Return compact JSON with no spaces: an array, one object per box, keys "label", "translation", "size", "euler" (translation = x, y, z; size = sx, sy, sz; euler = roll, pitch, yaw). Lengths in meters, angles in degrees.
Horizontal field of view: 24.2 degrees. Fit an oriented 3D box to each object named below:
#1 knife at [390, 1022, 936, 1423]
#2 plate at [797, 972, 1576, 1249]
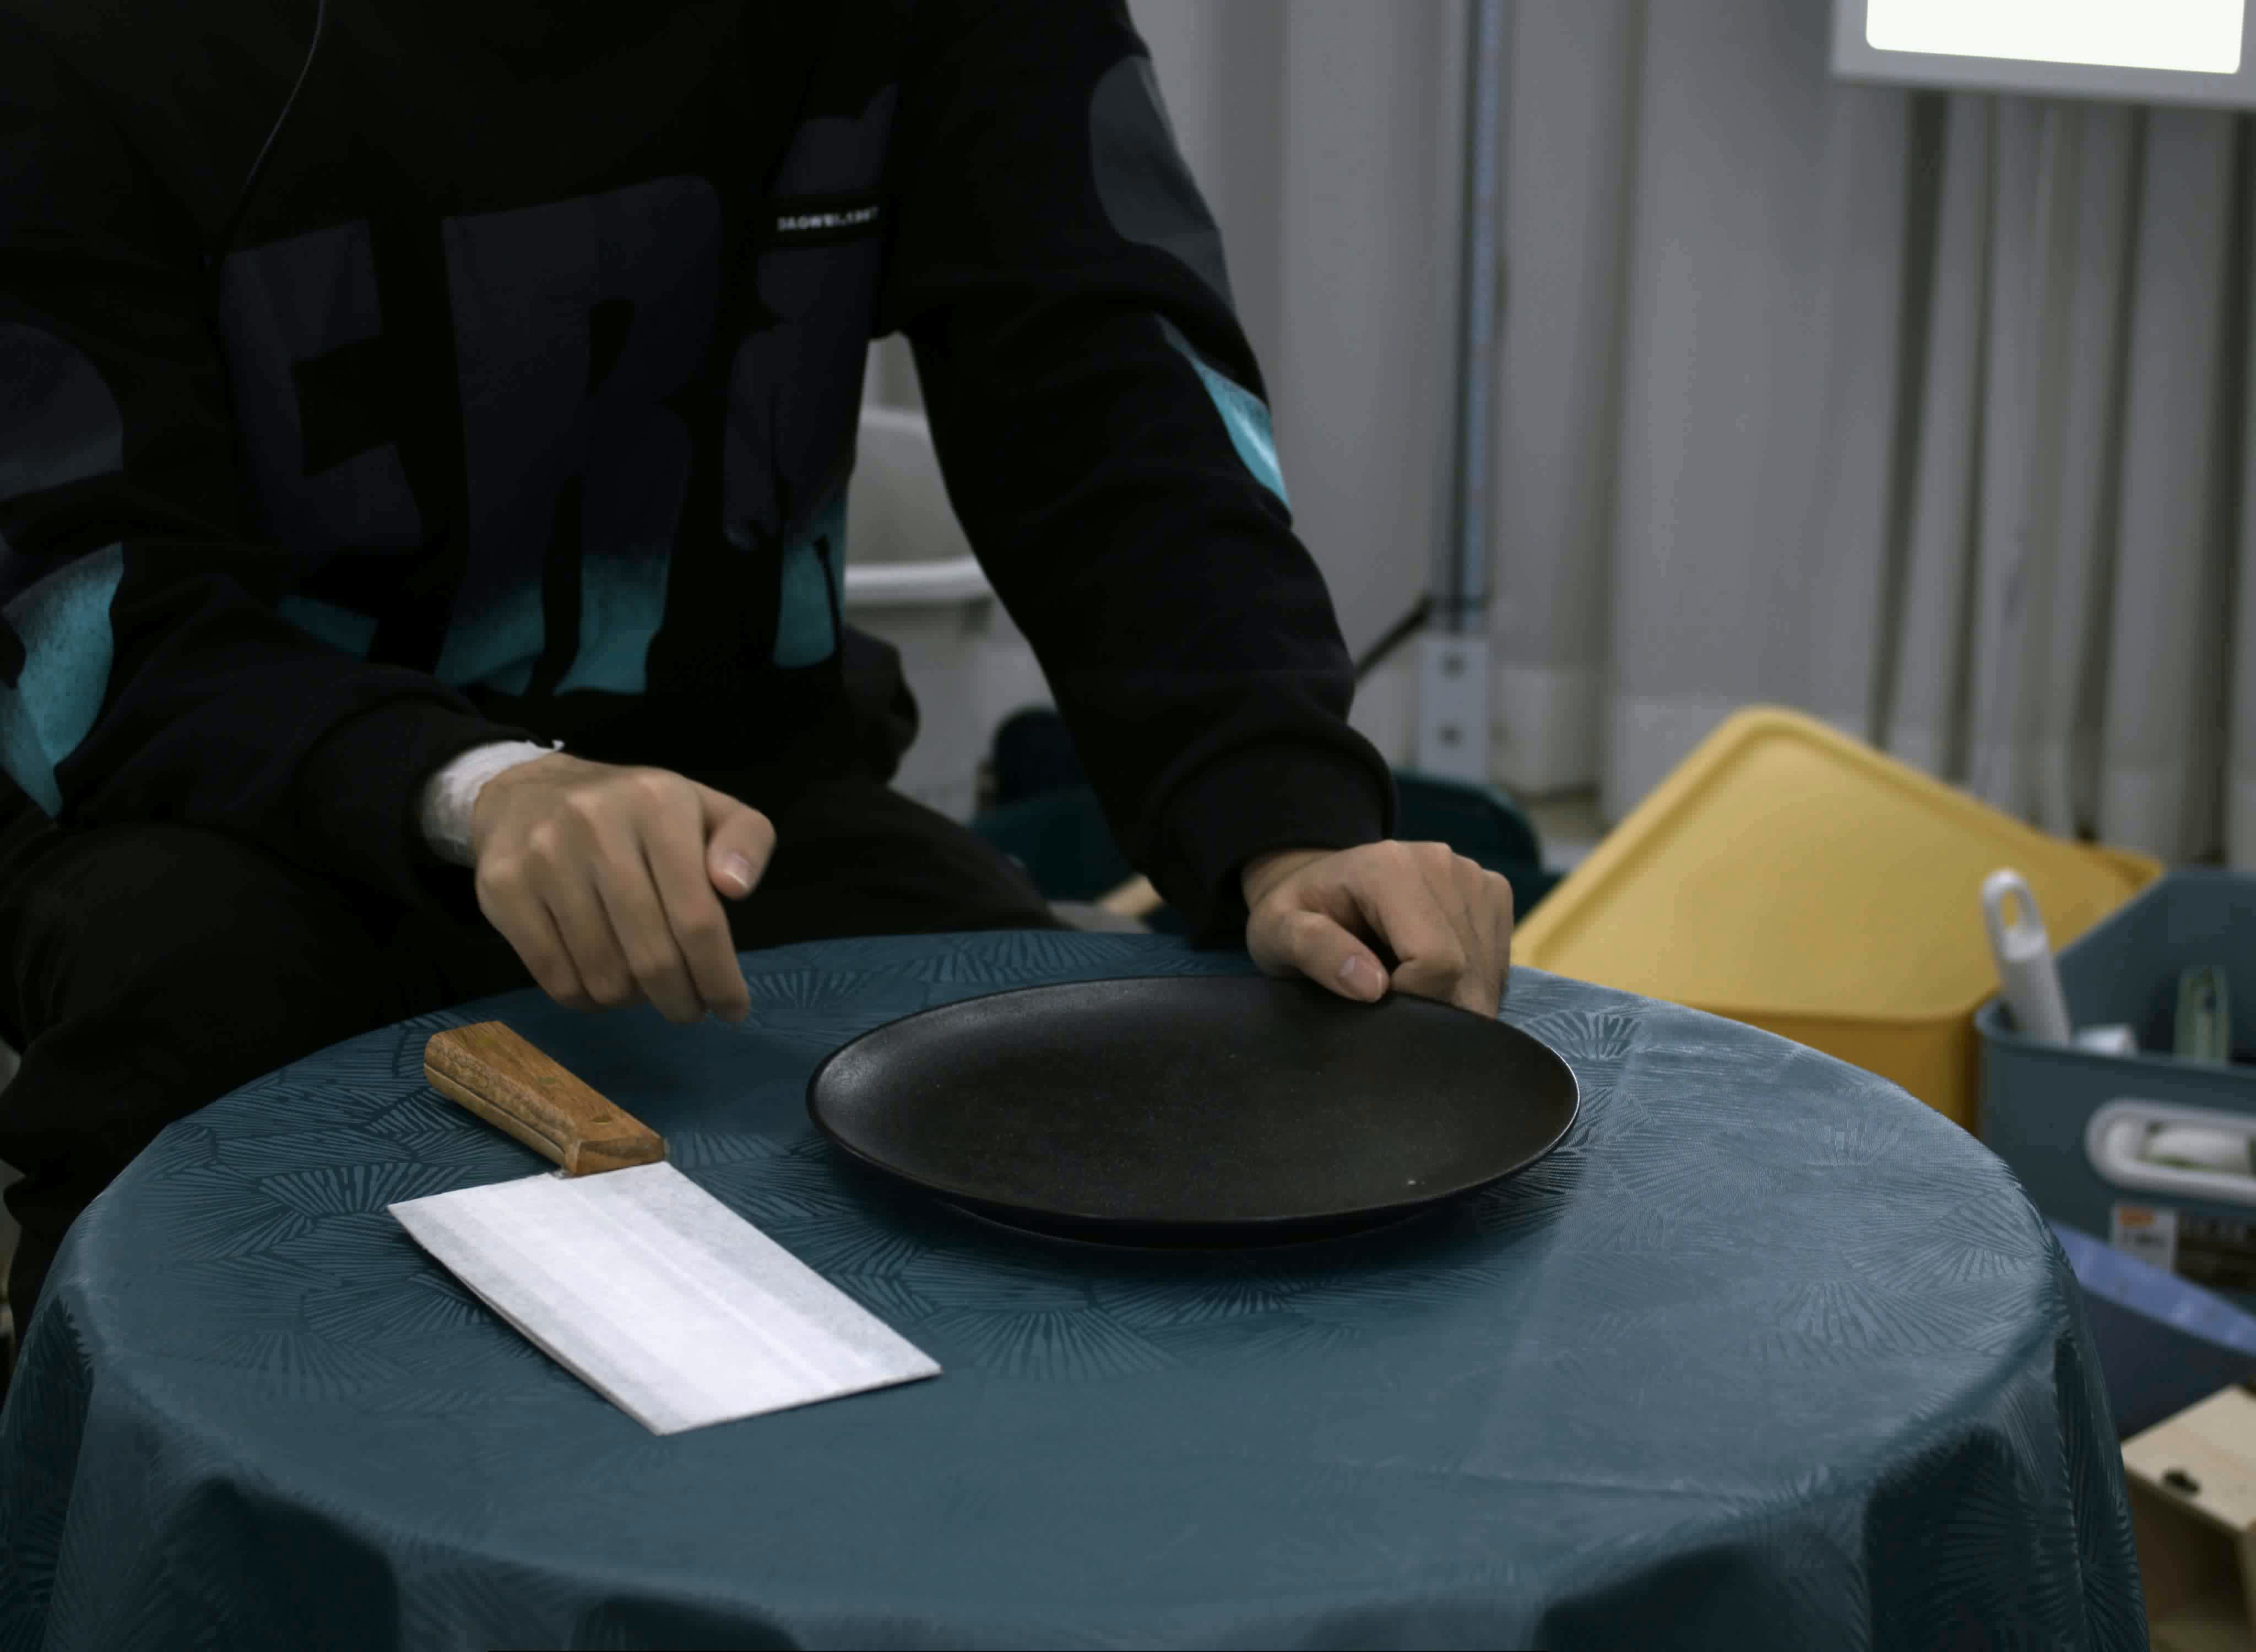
[{"label":"knife","translation":[-0.165,0.117,1.572],"size":[0.093,0.021,0.301],"euler":[-10,21,-29]},{"label":"plate","translation":[0.019,0.092,1.652],"size":[0.243,0.023,0.243],"euler":[0,16,0]}]
